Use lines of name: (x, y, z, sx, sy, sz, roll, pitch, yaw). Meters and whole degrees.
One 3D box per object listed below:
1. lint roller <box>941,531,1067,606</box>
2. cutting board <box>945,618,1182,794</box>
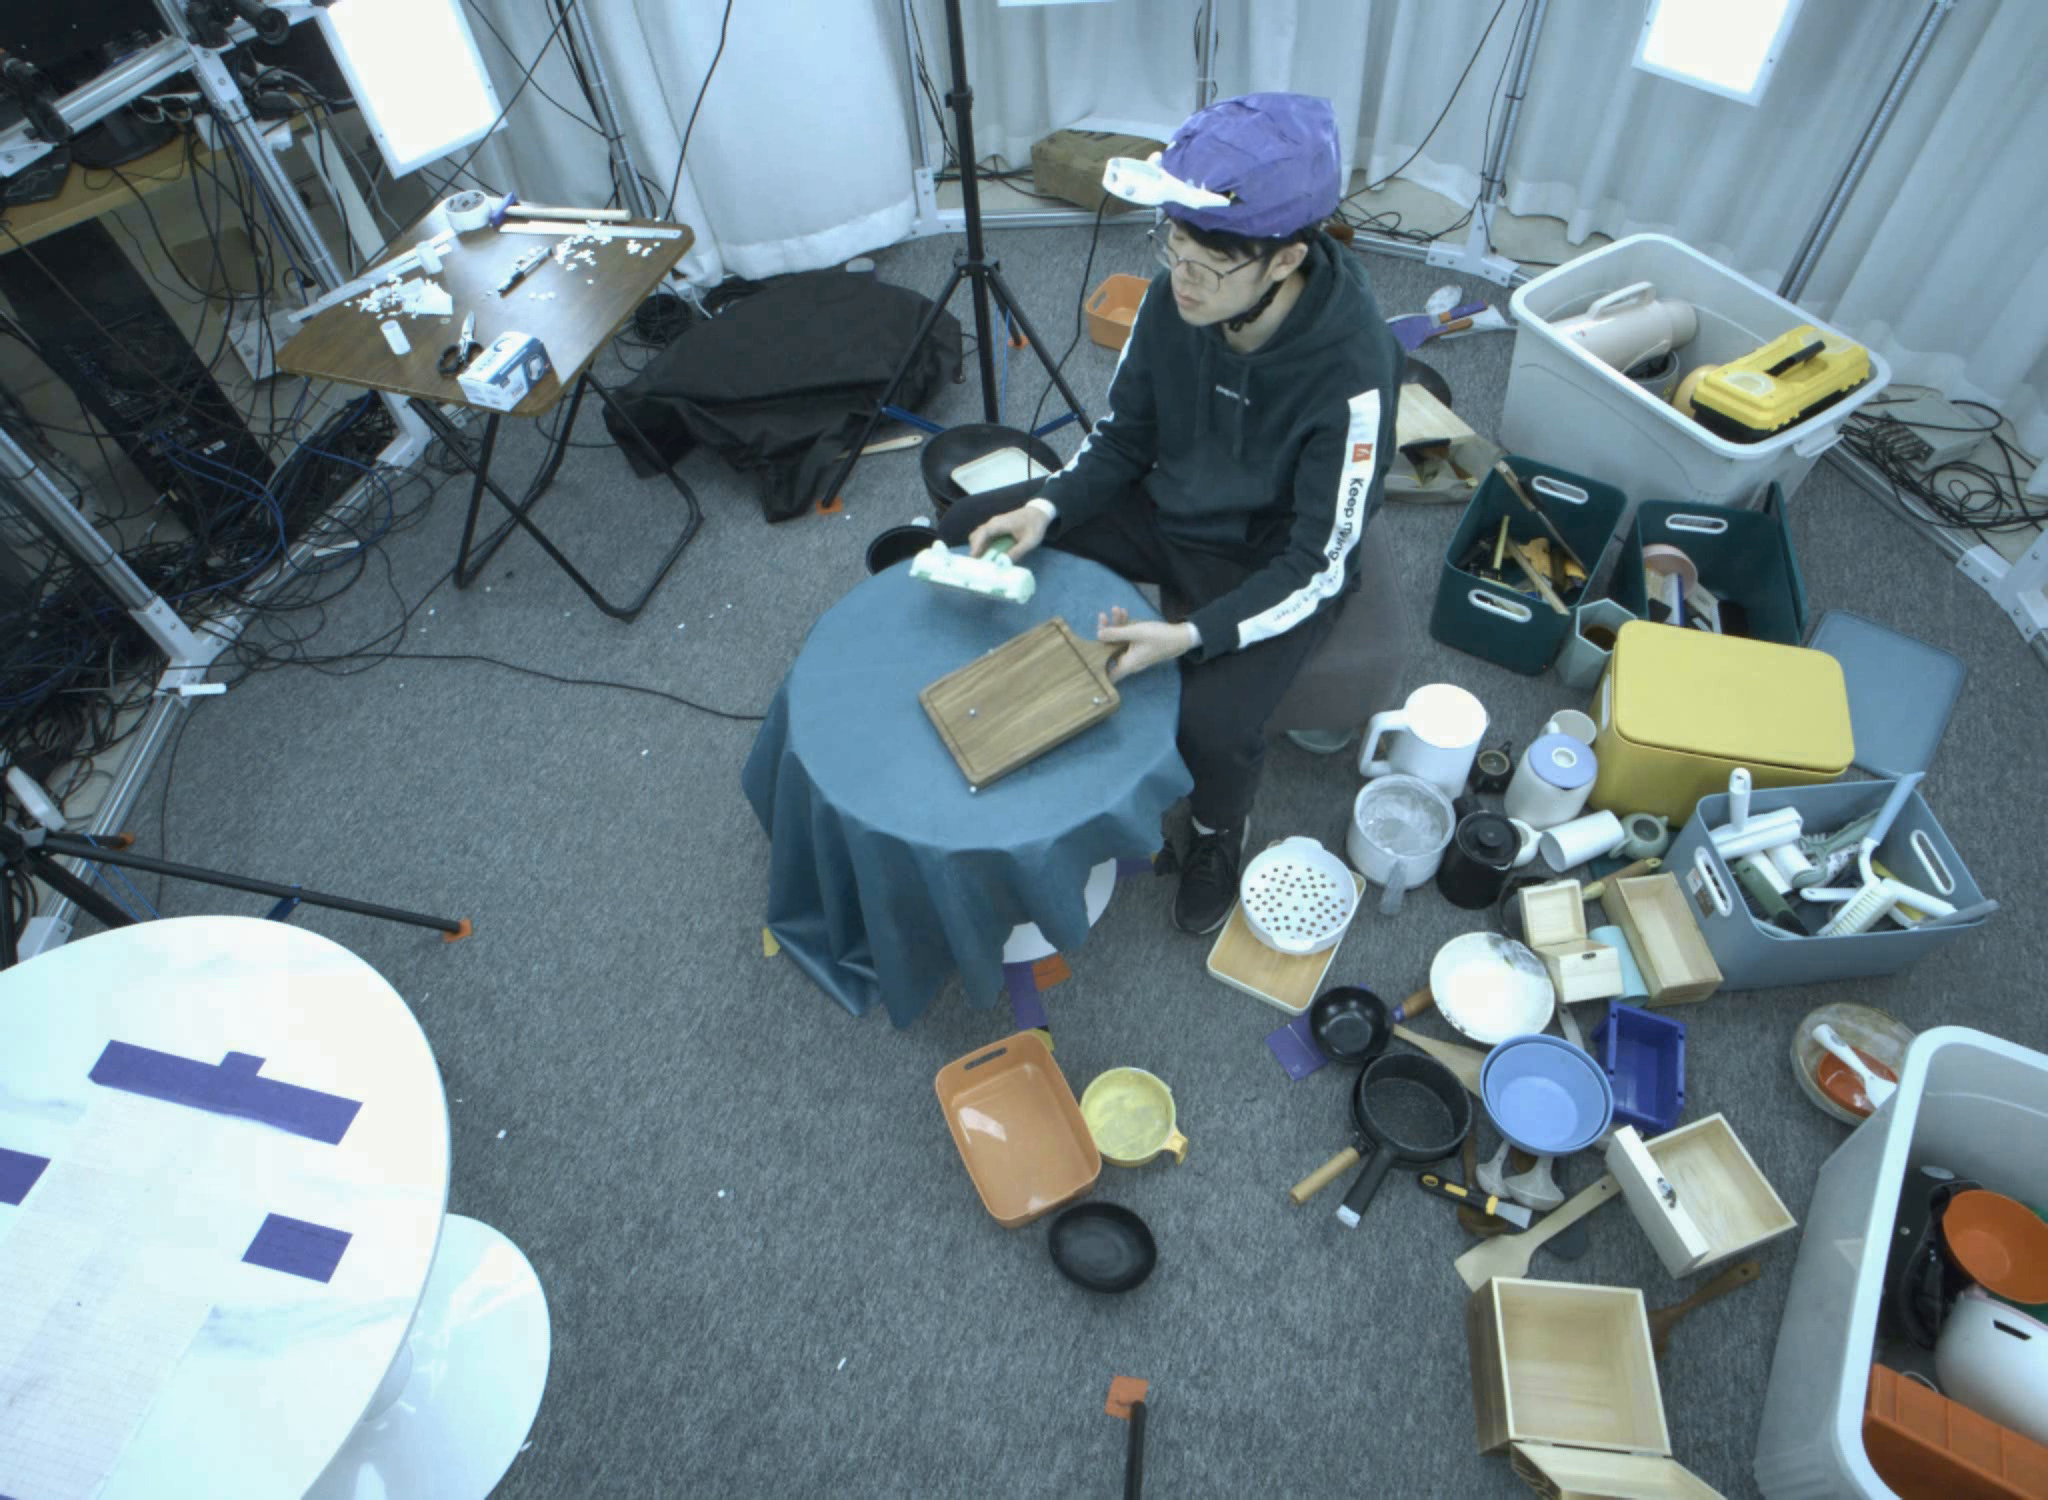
lint roller: (-0.005, -0.307, 1.905, 0.195, 0.083, 0.184, 18, 54, 26)
cutting board: (0.077, -0.092, 1.799, 0.353, 0.023, 0.197, -28, 58, -6)
